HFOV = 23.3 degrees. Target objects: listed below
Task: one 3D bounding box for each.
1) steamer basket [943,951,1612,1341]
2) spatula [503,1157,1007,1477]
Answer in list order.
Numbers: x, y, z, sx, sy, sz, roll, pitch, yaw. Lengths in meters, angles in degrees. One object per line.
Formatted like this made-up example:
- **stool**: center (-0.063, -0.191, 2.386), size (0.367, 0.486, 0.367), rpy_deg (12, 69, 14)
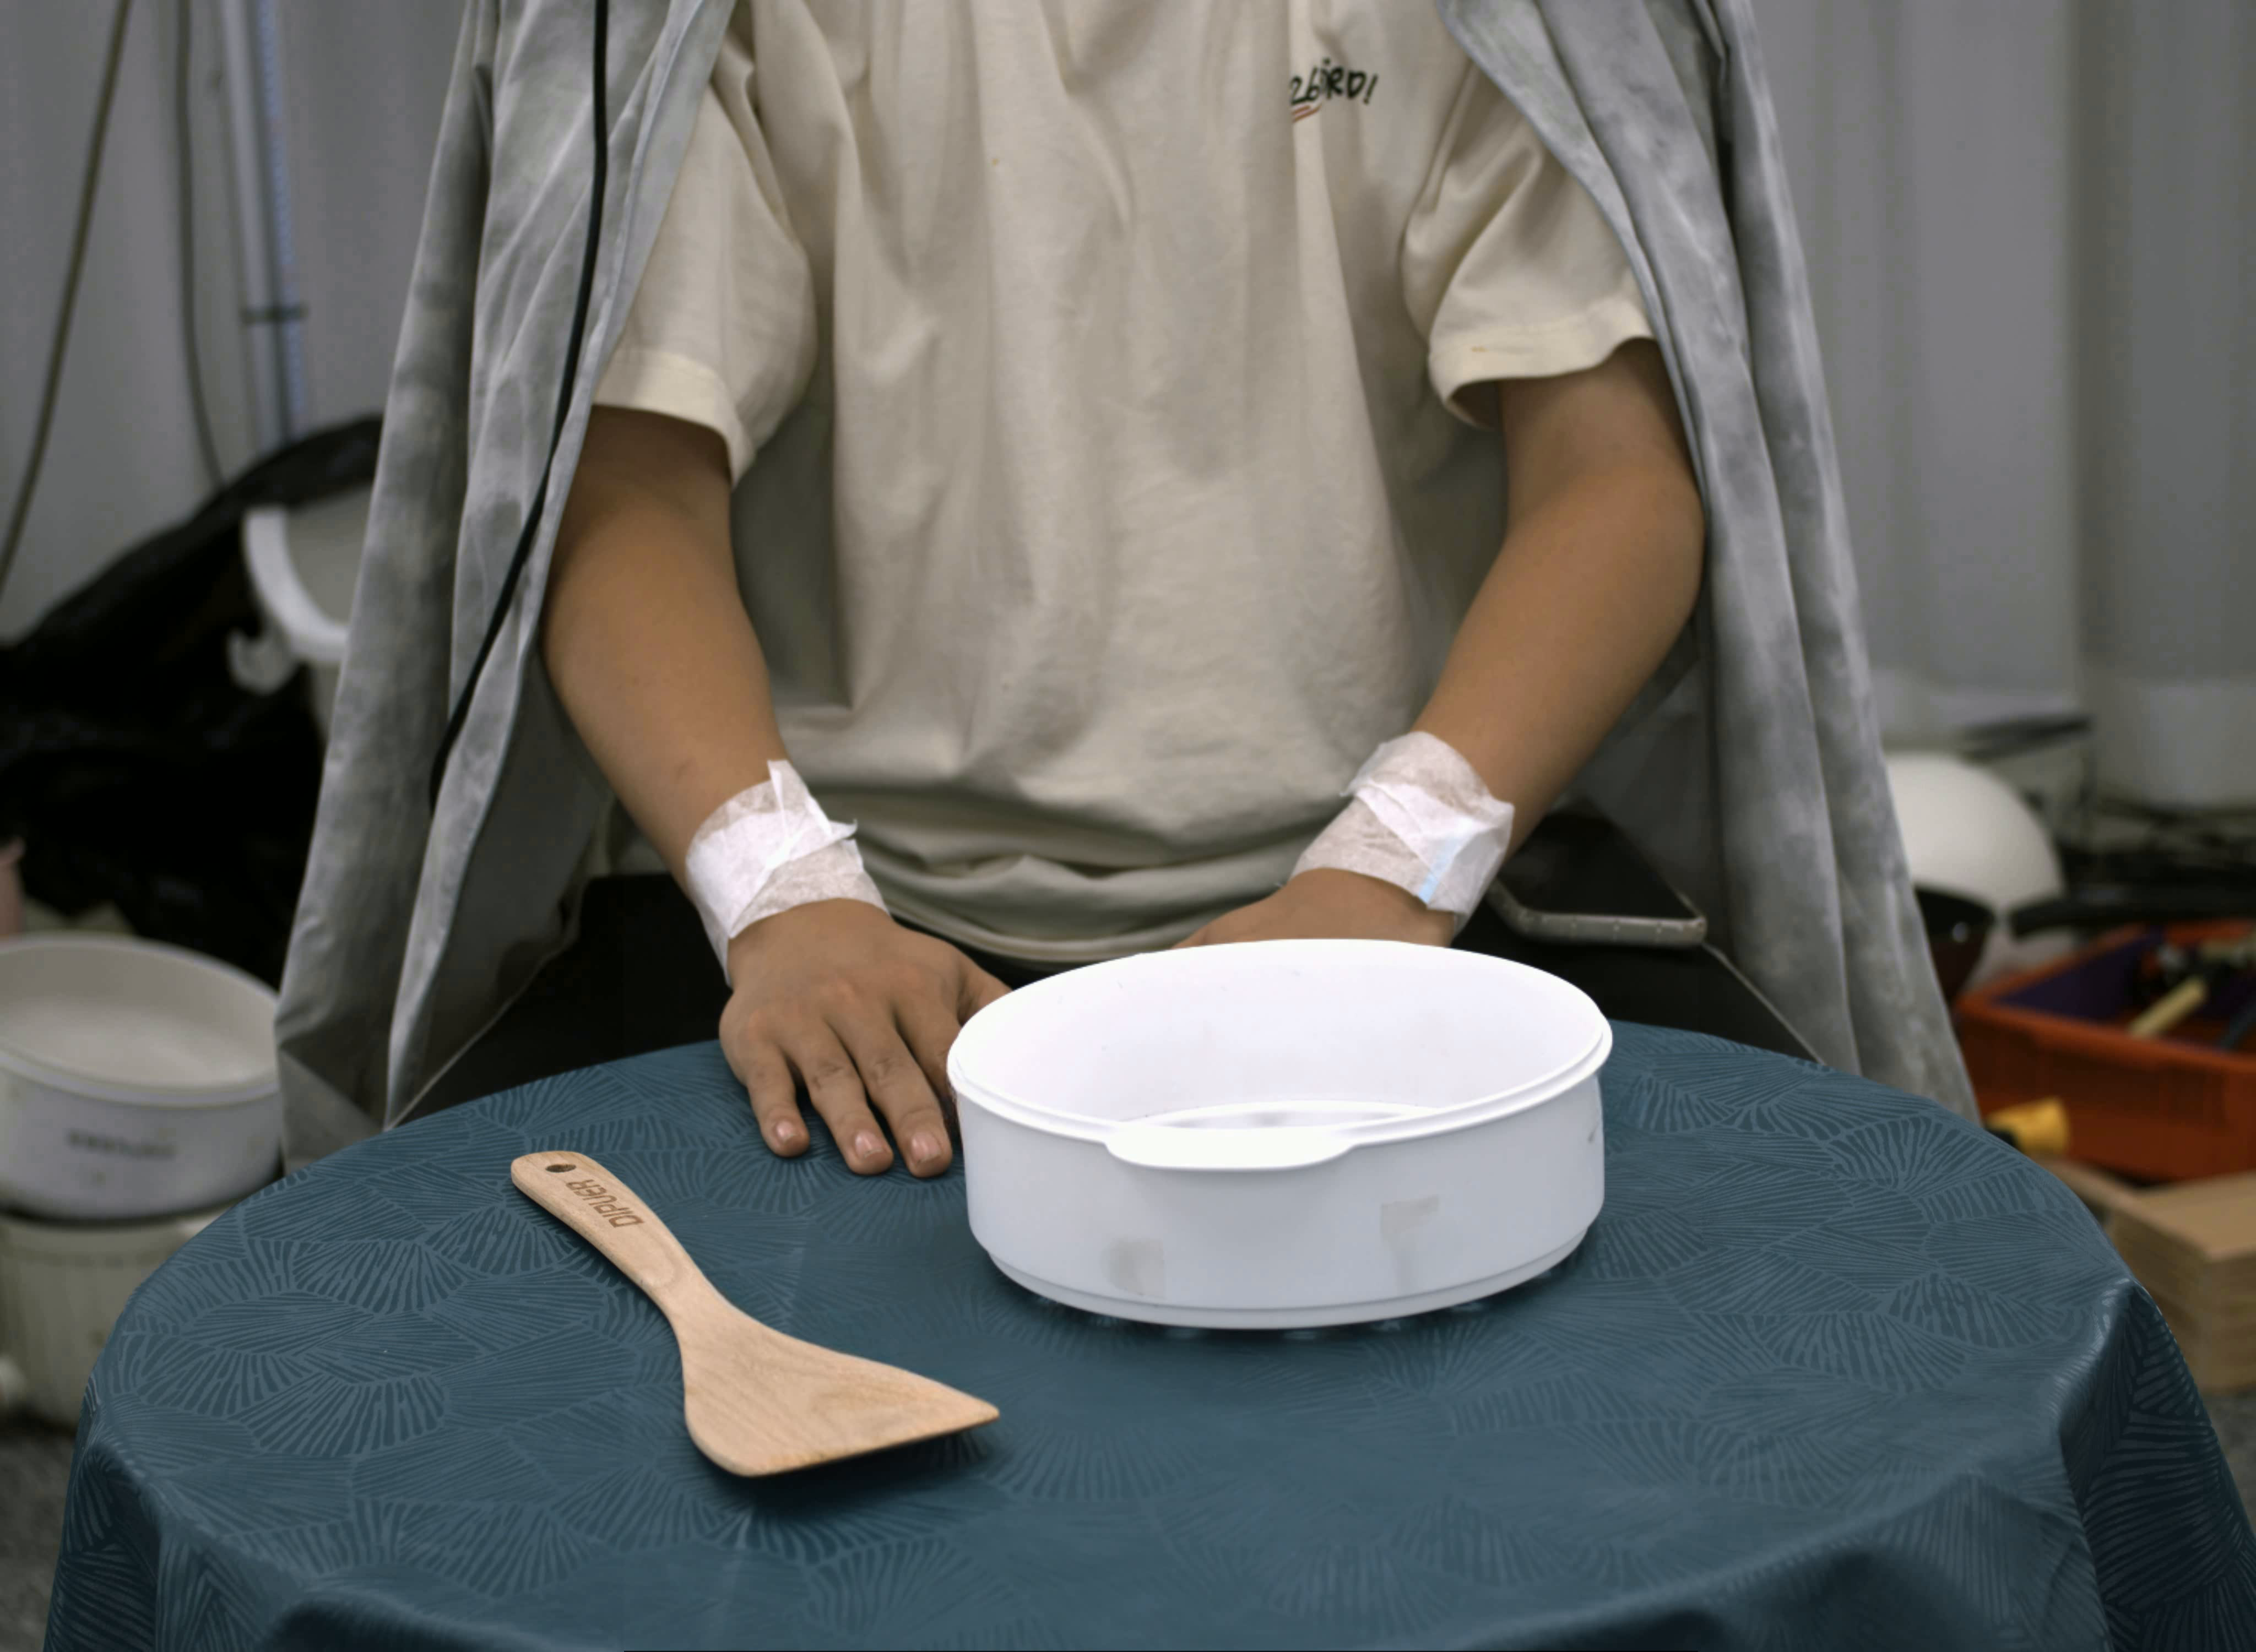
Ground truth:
- **steamer basket**: center (0.045, 0.096, 1.654), size (0.201, 0.069, 0.231), rpy_deg (2, 15, 11)
- **spatula**: center (-0.126, 0.140, 1.615), size (0.079, 0.016, 0.330), rpy_deg (-8, 15, -22)
